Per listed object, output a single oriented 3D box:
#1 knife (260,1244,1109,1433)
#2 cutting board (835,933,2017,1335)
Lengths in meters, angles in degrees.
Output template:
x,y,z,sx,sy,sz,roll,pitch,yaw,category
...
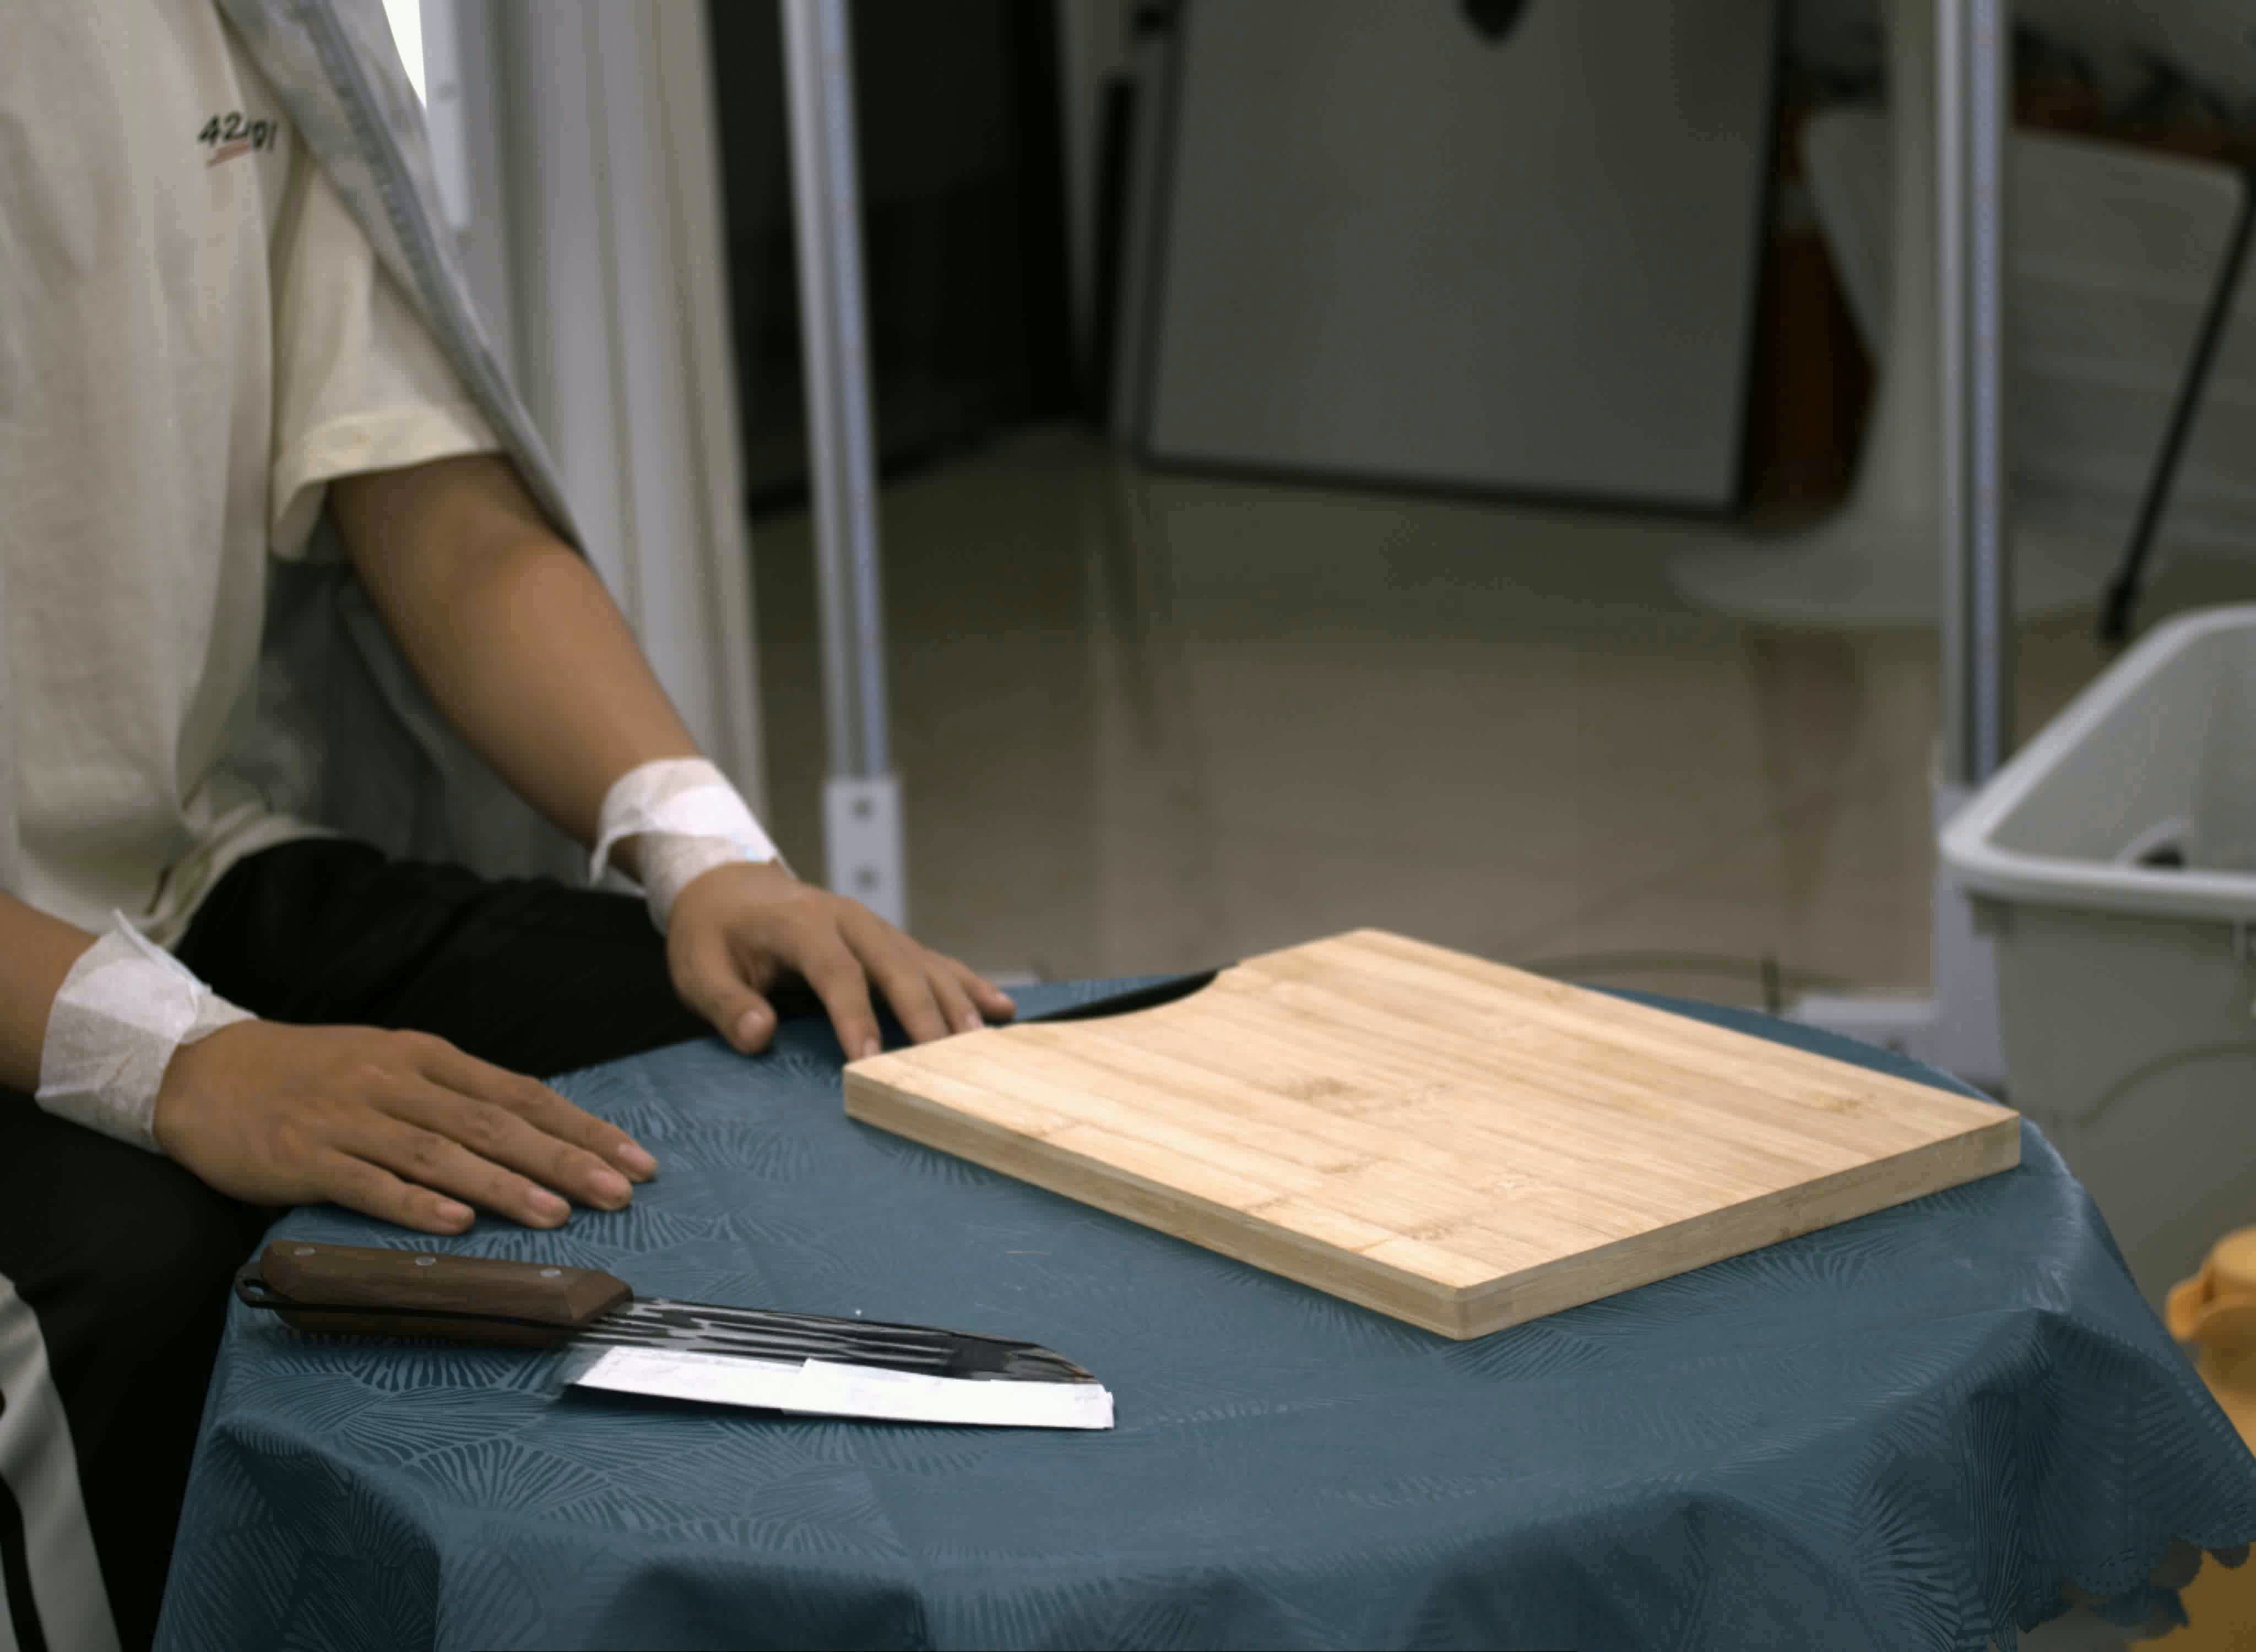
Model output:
x,y,z,sx,sy,sz,roll,pitch,yaw,category
-0.139,0.158,1.627,0.299,0.024,0.067,4,17,21,knife
0.093,0.098,1.811,0.245,0.024,0.352,-13,16,-35,cutting board
